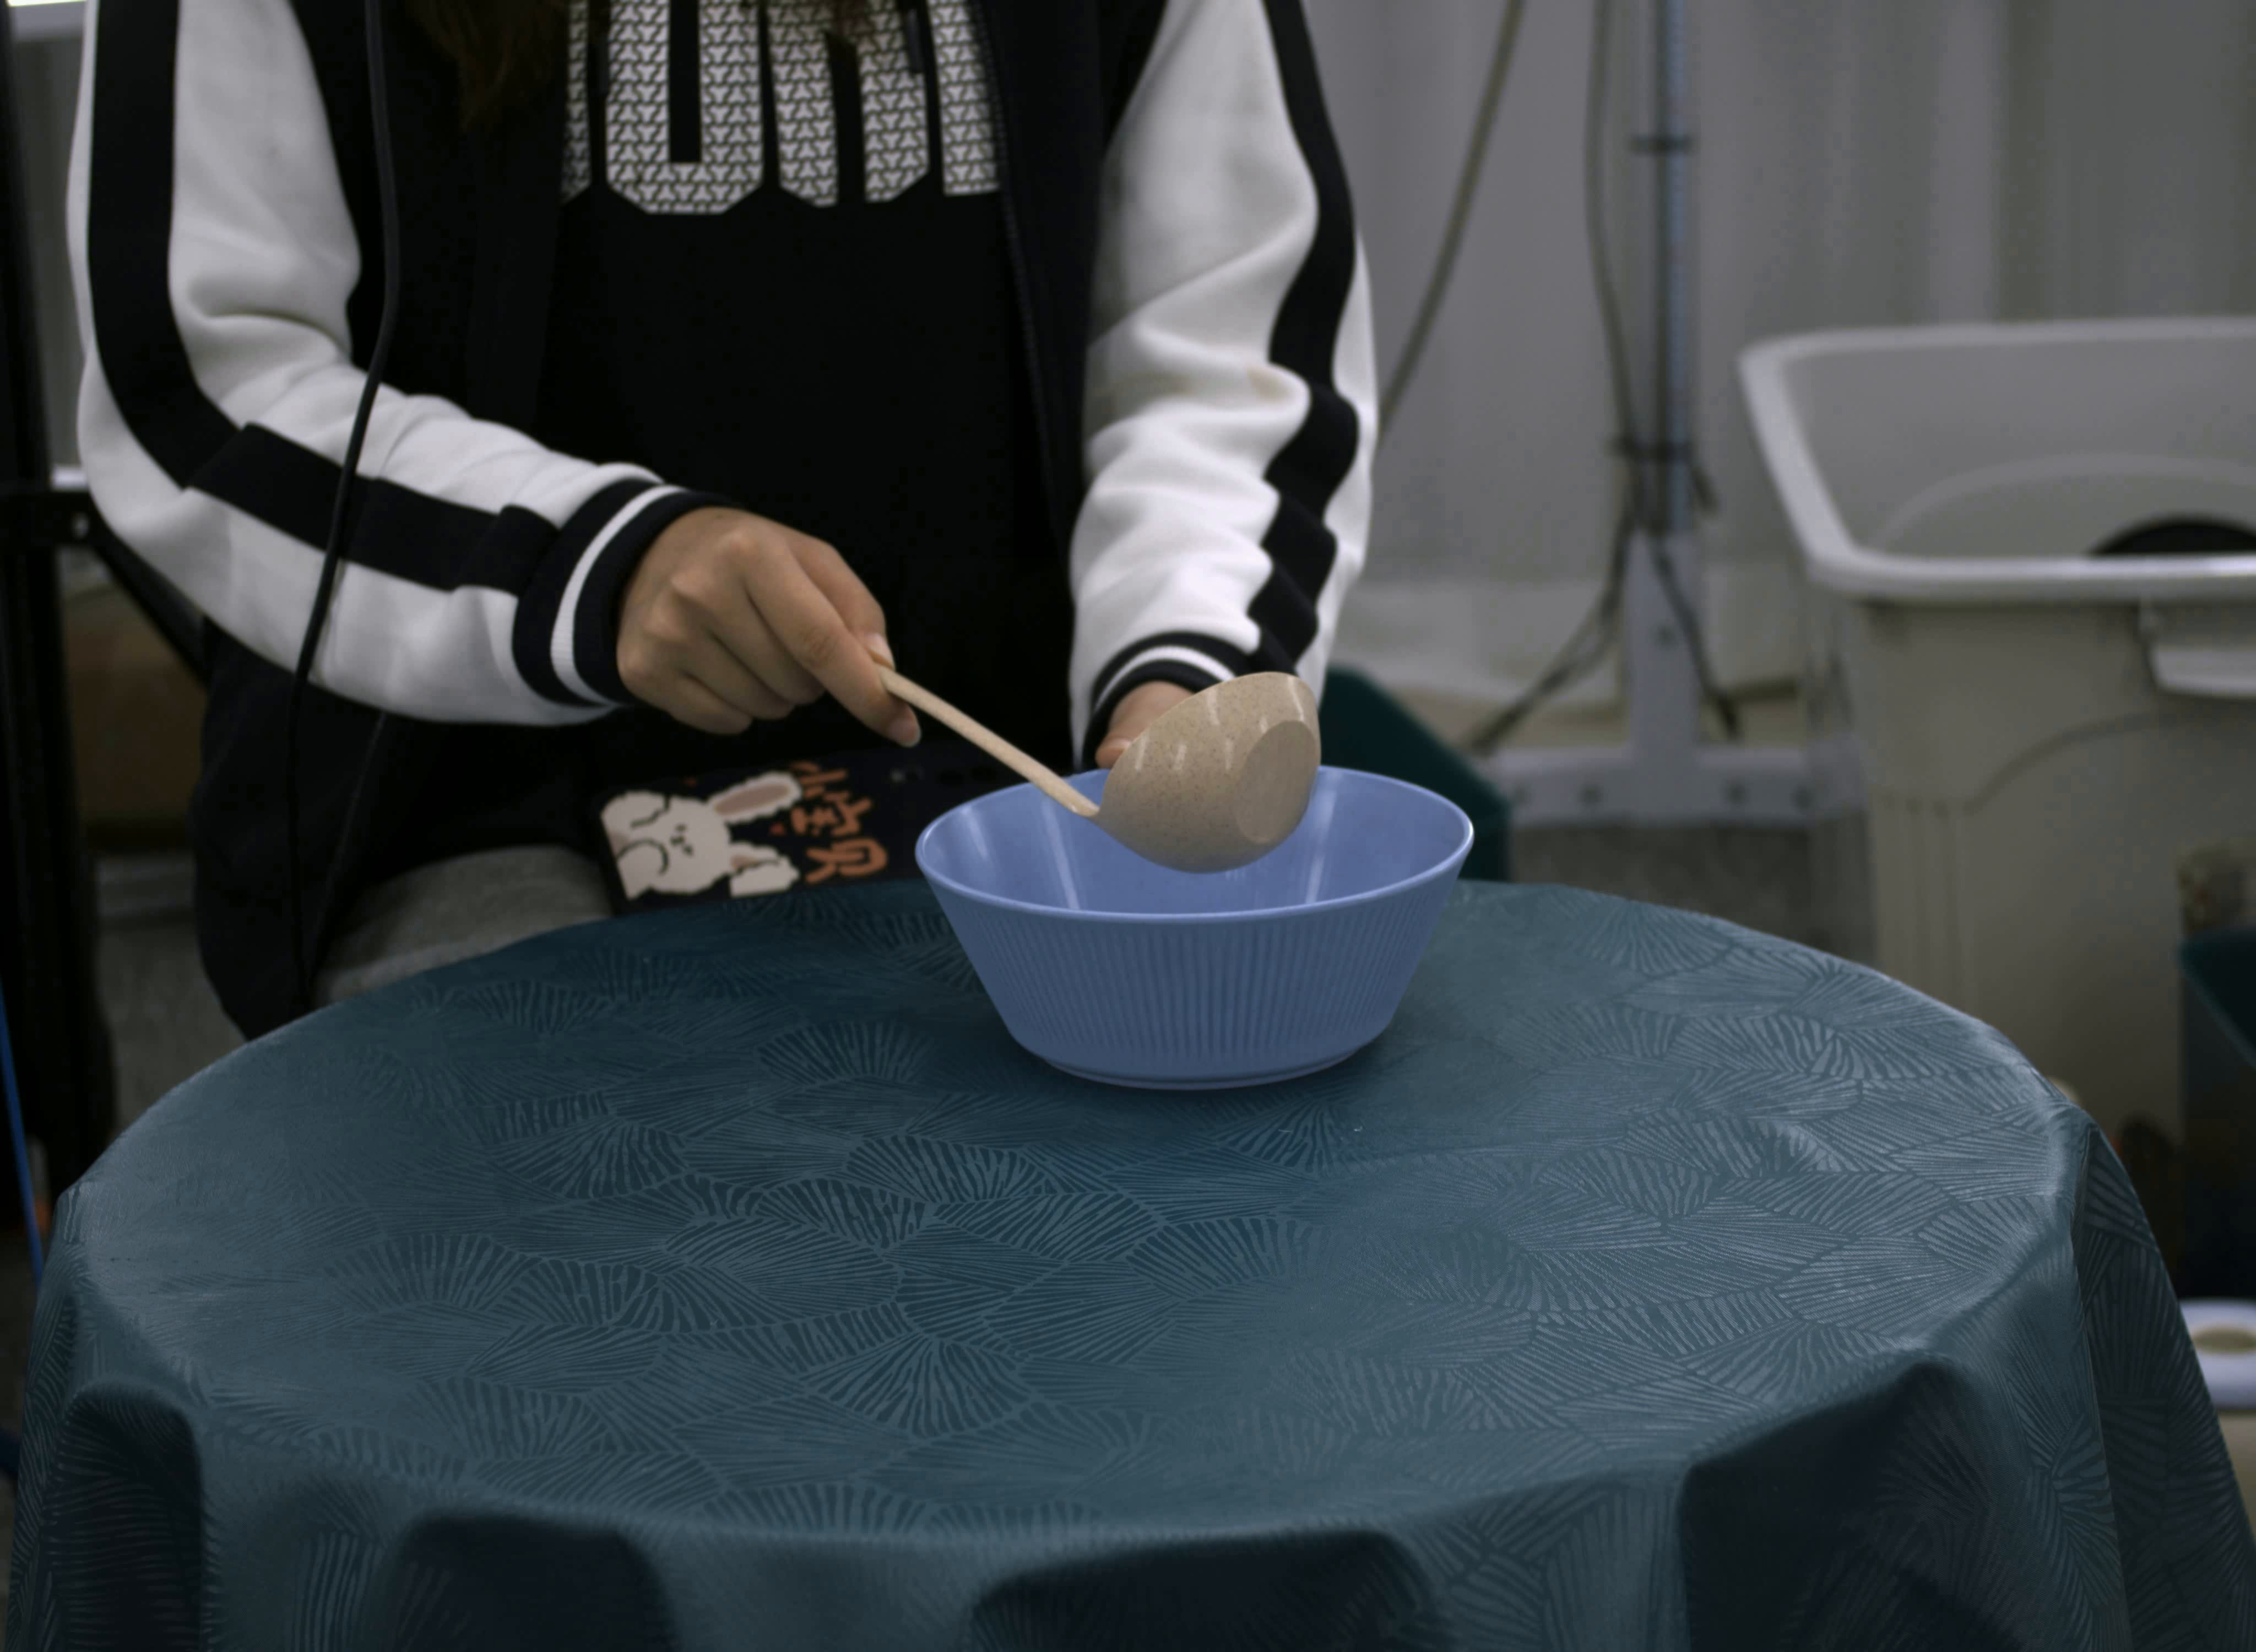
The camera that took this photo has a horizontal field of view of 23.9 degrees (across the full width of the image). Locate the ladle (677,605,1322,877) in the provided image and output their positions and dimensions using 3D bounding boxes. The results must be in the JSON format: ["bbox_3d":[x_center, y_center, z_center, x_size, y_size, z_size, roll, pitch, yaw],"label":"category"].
[{"bbox_3d":[-0.044,-0.056,1.714,0.260,0.073,0.070,28,4,38],"label":"ladle"}]

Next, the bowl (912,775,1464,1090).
[{"bbox_3d":[0.019,0.035,1.686,0.175,0.070,0.177,-2,15,-1],"label":"bowl"}]
